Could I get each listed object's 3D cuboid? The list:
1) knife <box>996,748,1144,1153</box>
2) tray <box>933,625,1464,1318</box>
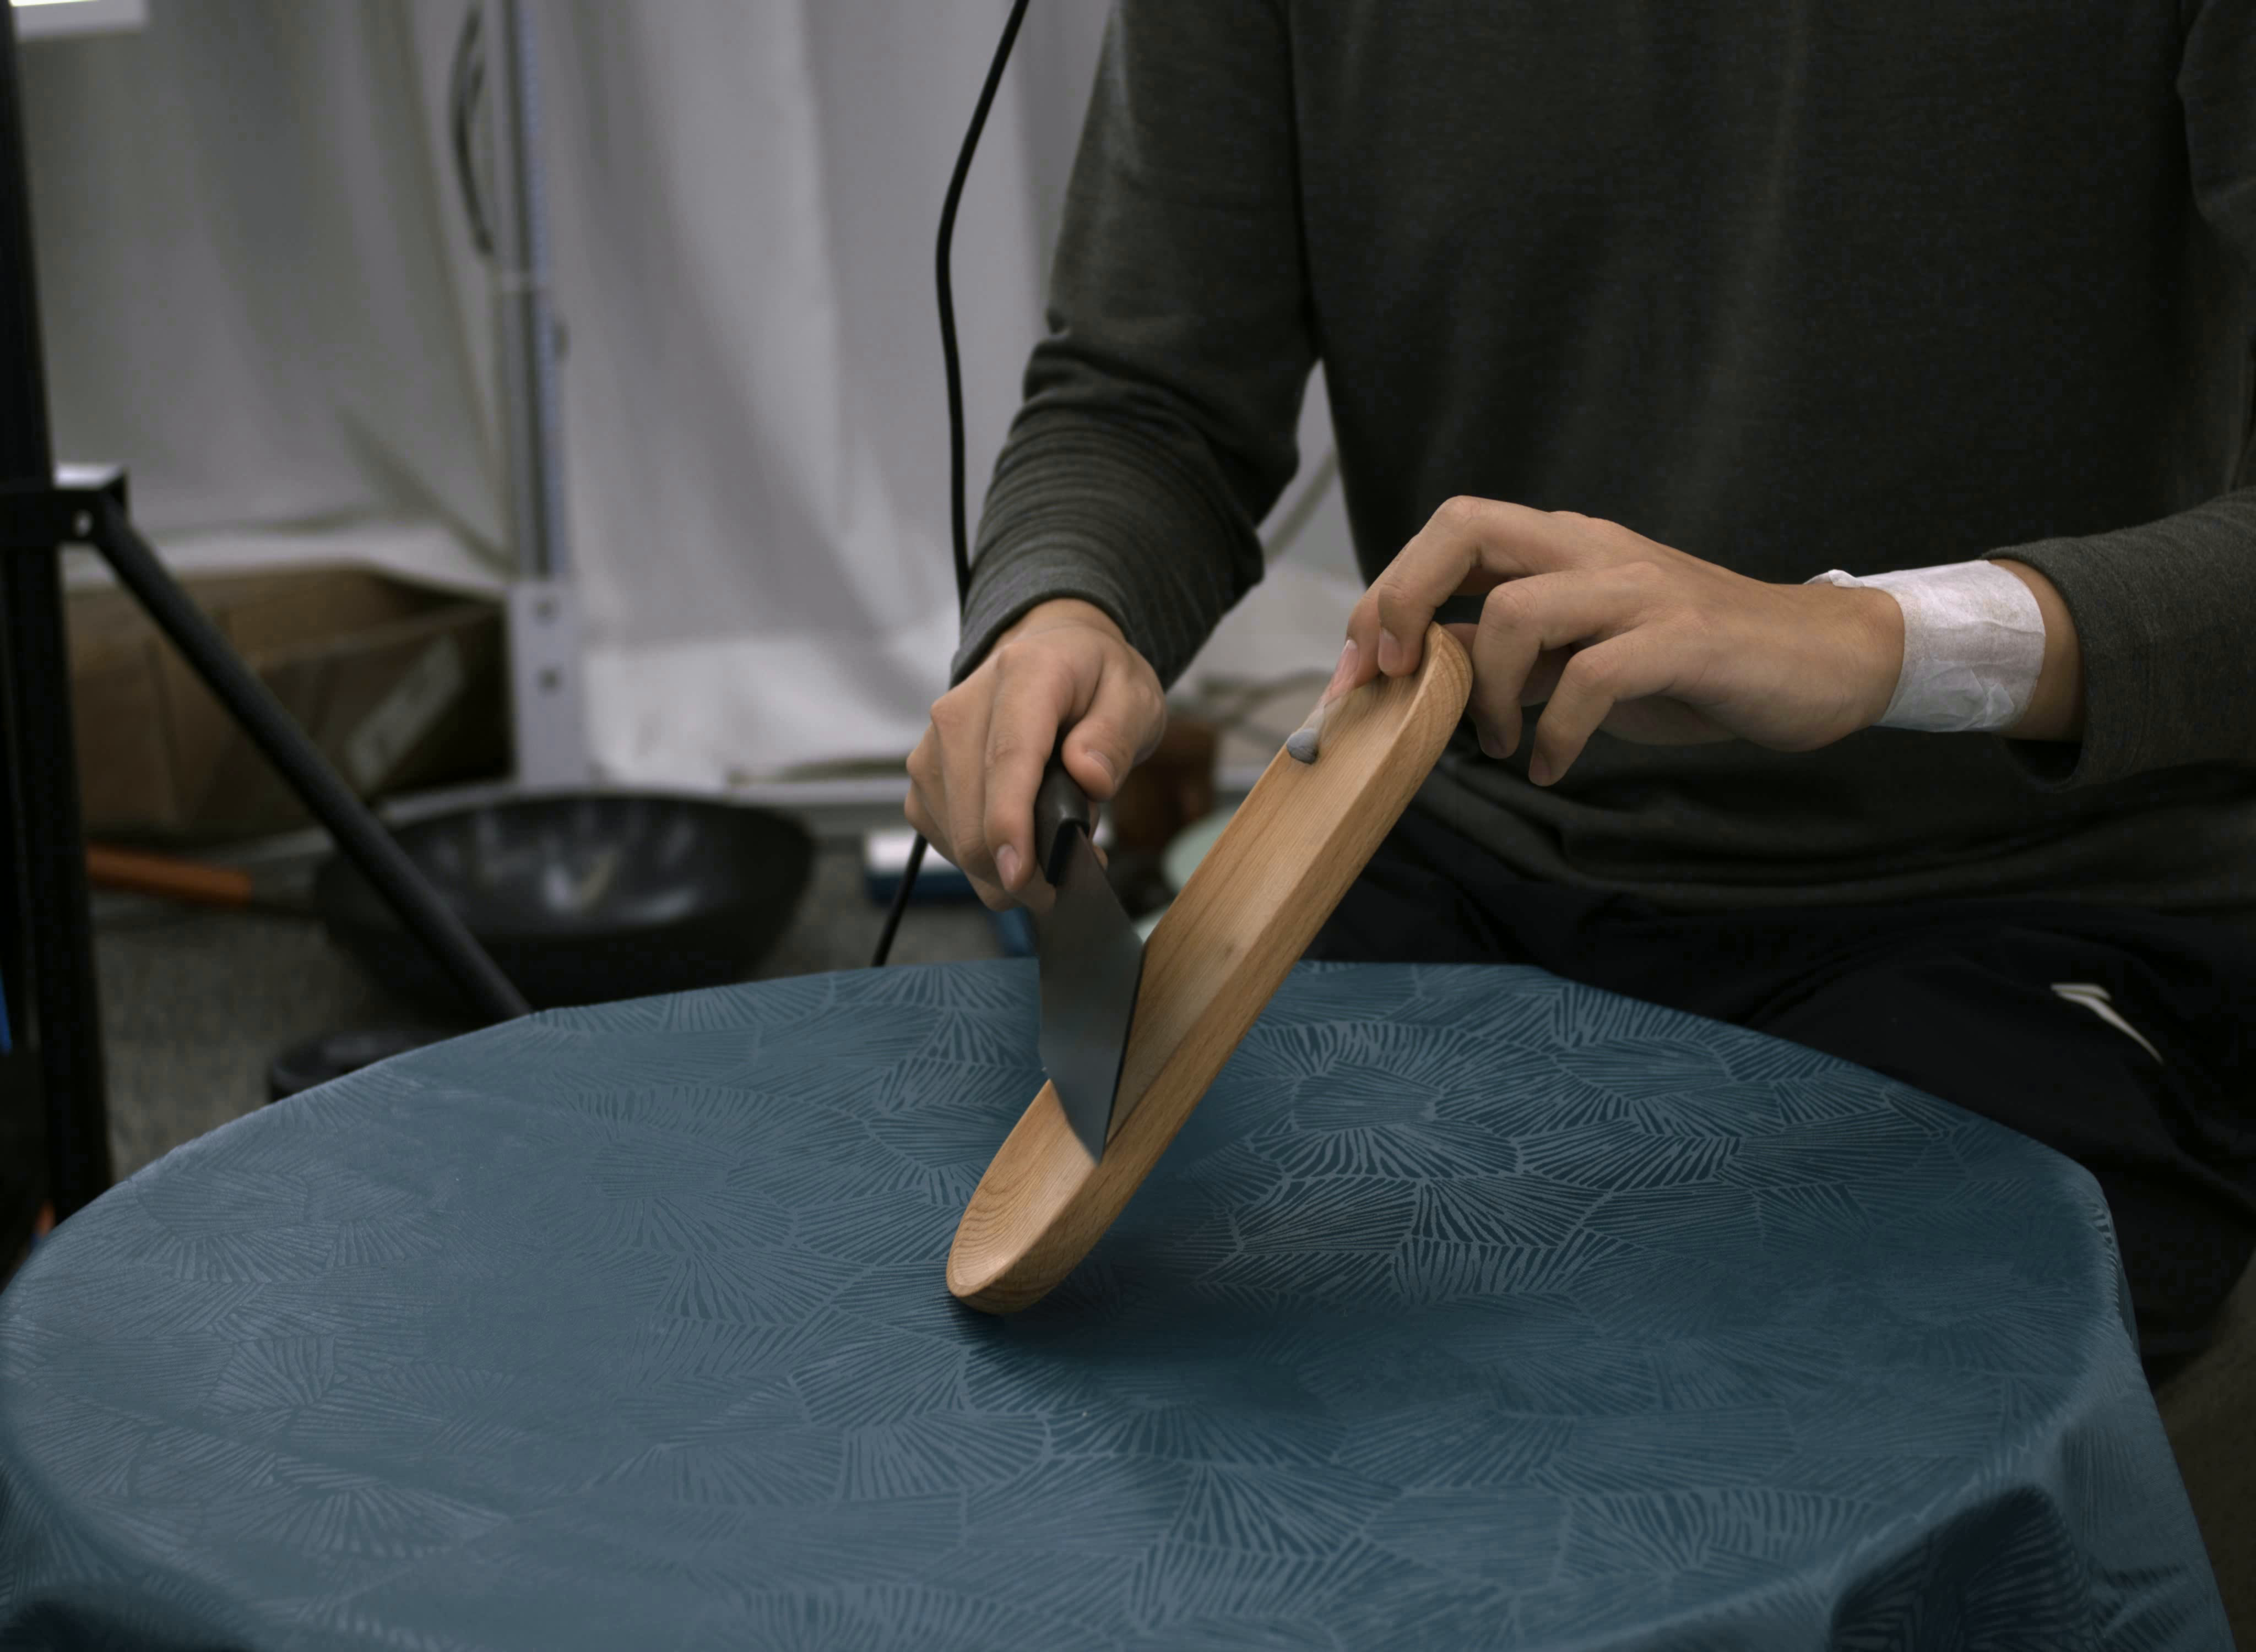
[{"bbox_3d":[-0.017,0.028,1.526,0.020,0.081,0.304,10,13,-8],"label":"knife"},{"bbox_3d":[0.020,0.041,1.474,0.020,0.231,0.102,36,-8,-11],"label":"tray"}]
